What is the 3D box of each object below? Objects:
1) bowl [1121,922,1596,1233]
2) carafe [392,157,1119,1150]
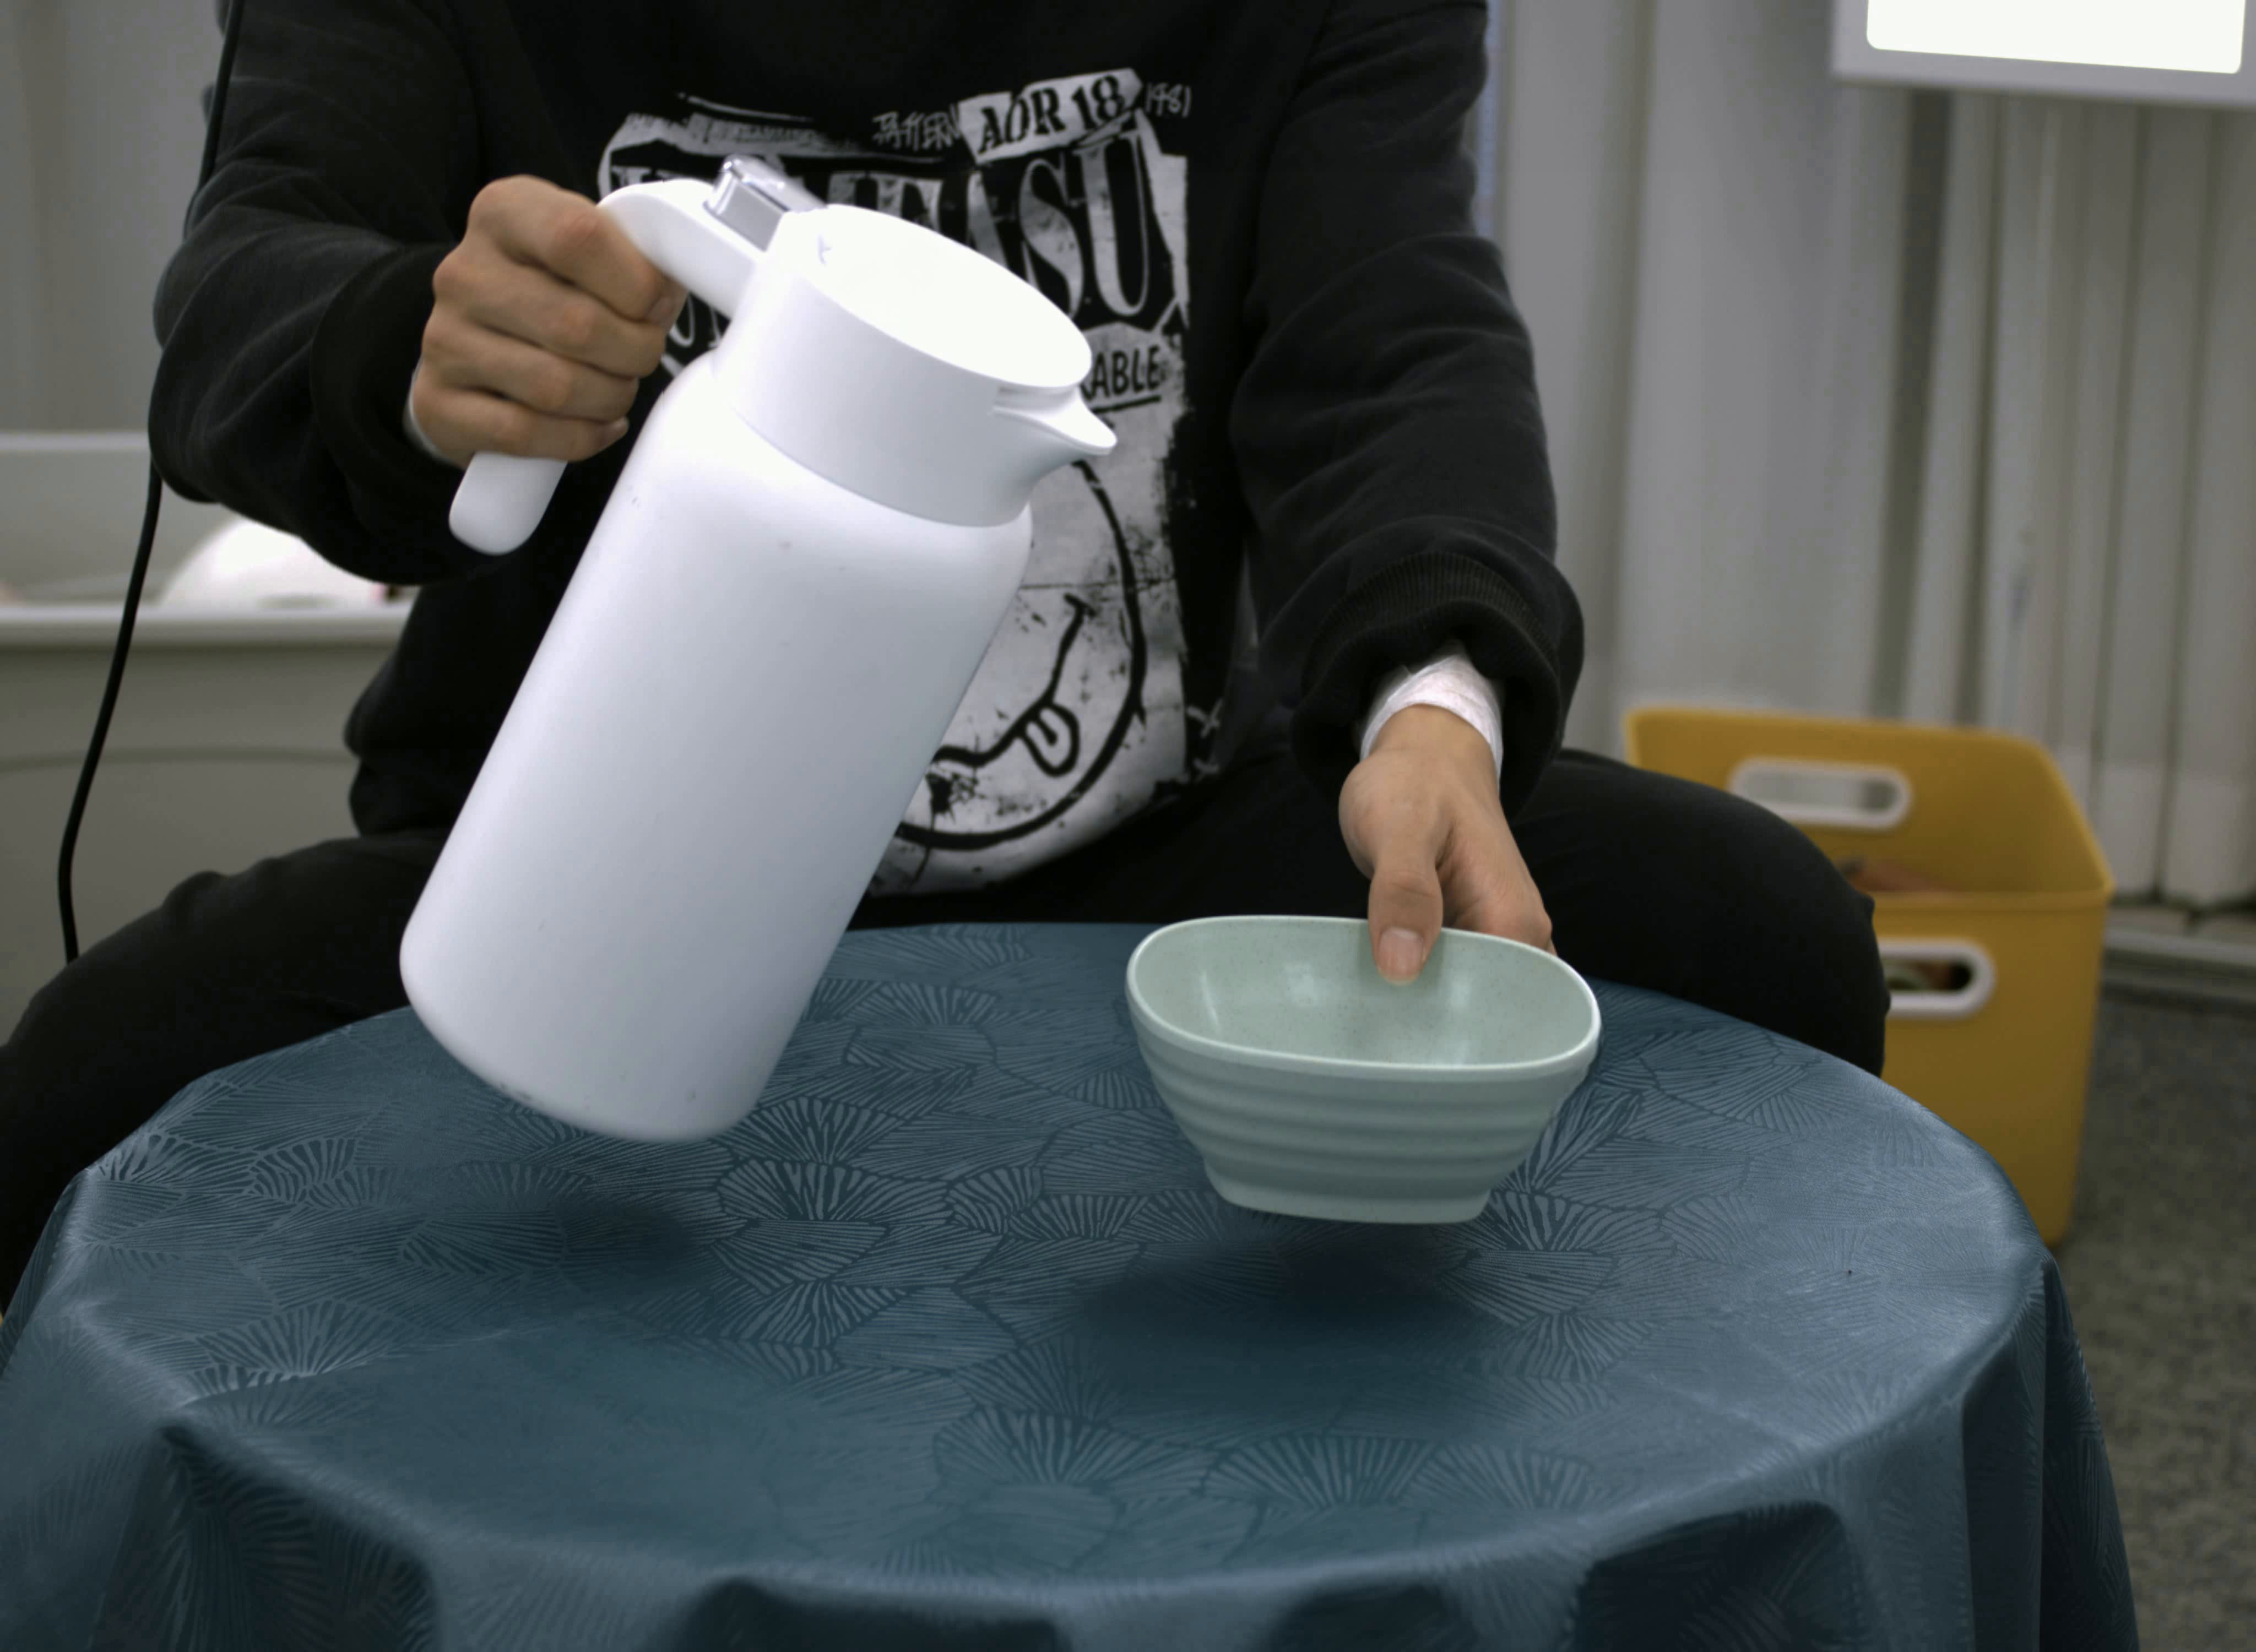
[{"bbox_3d":[0.065,0.077,1.540,0.151,0.059,0.150,5,16,-1],"label":"bowl"},{"bbox_3d":[-0.126,-0.052,1.524,0.171,0.270,0.124,34,25,15],"label":"carafe"}]
